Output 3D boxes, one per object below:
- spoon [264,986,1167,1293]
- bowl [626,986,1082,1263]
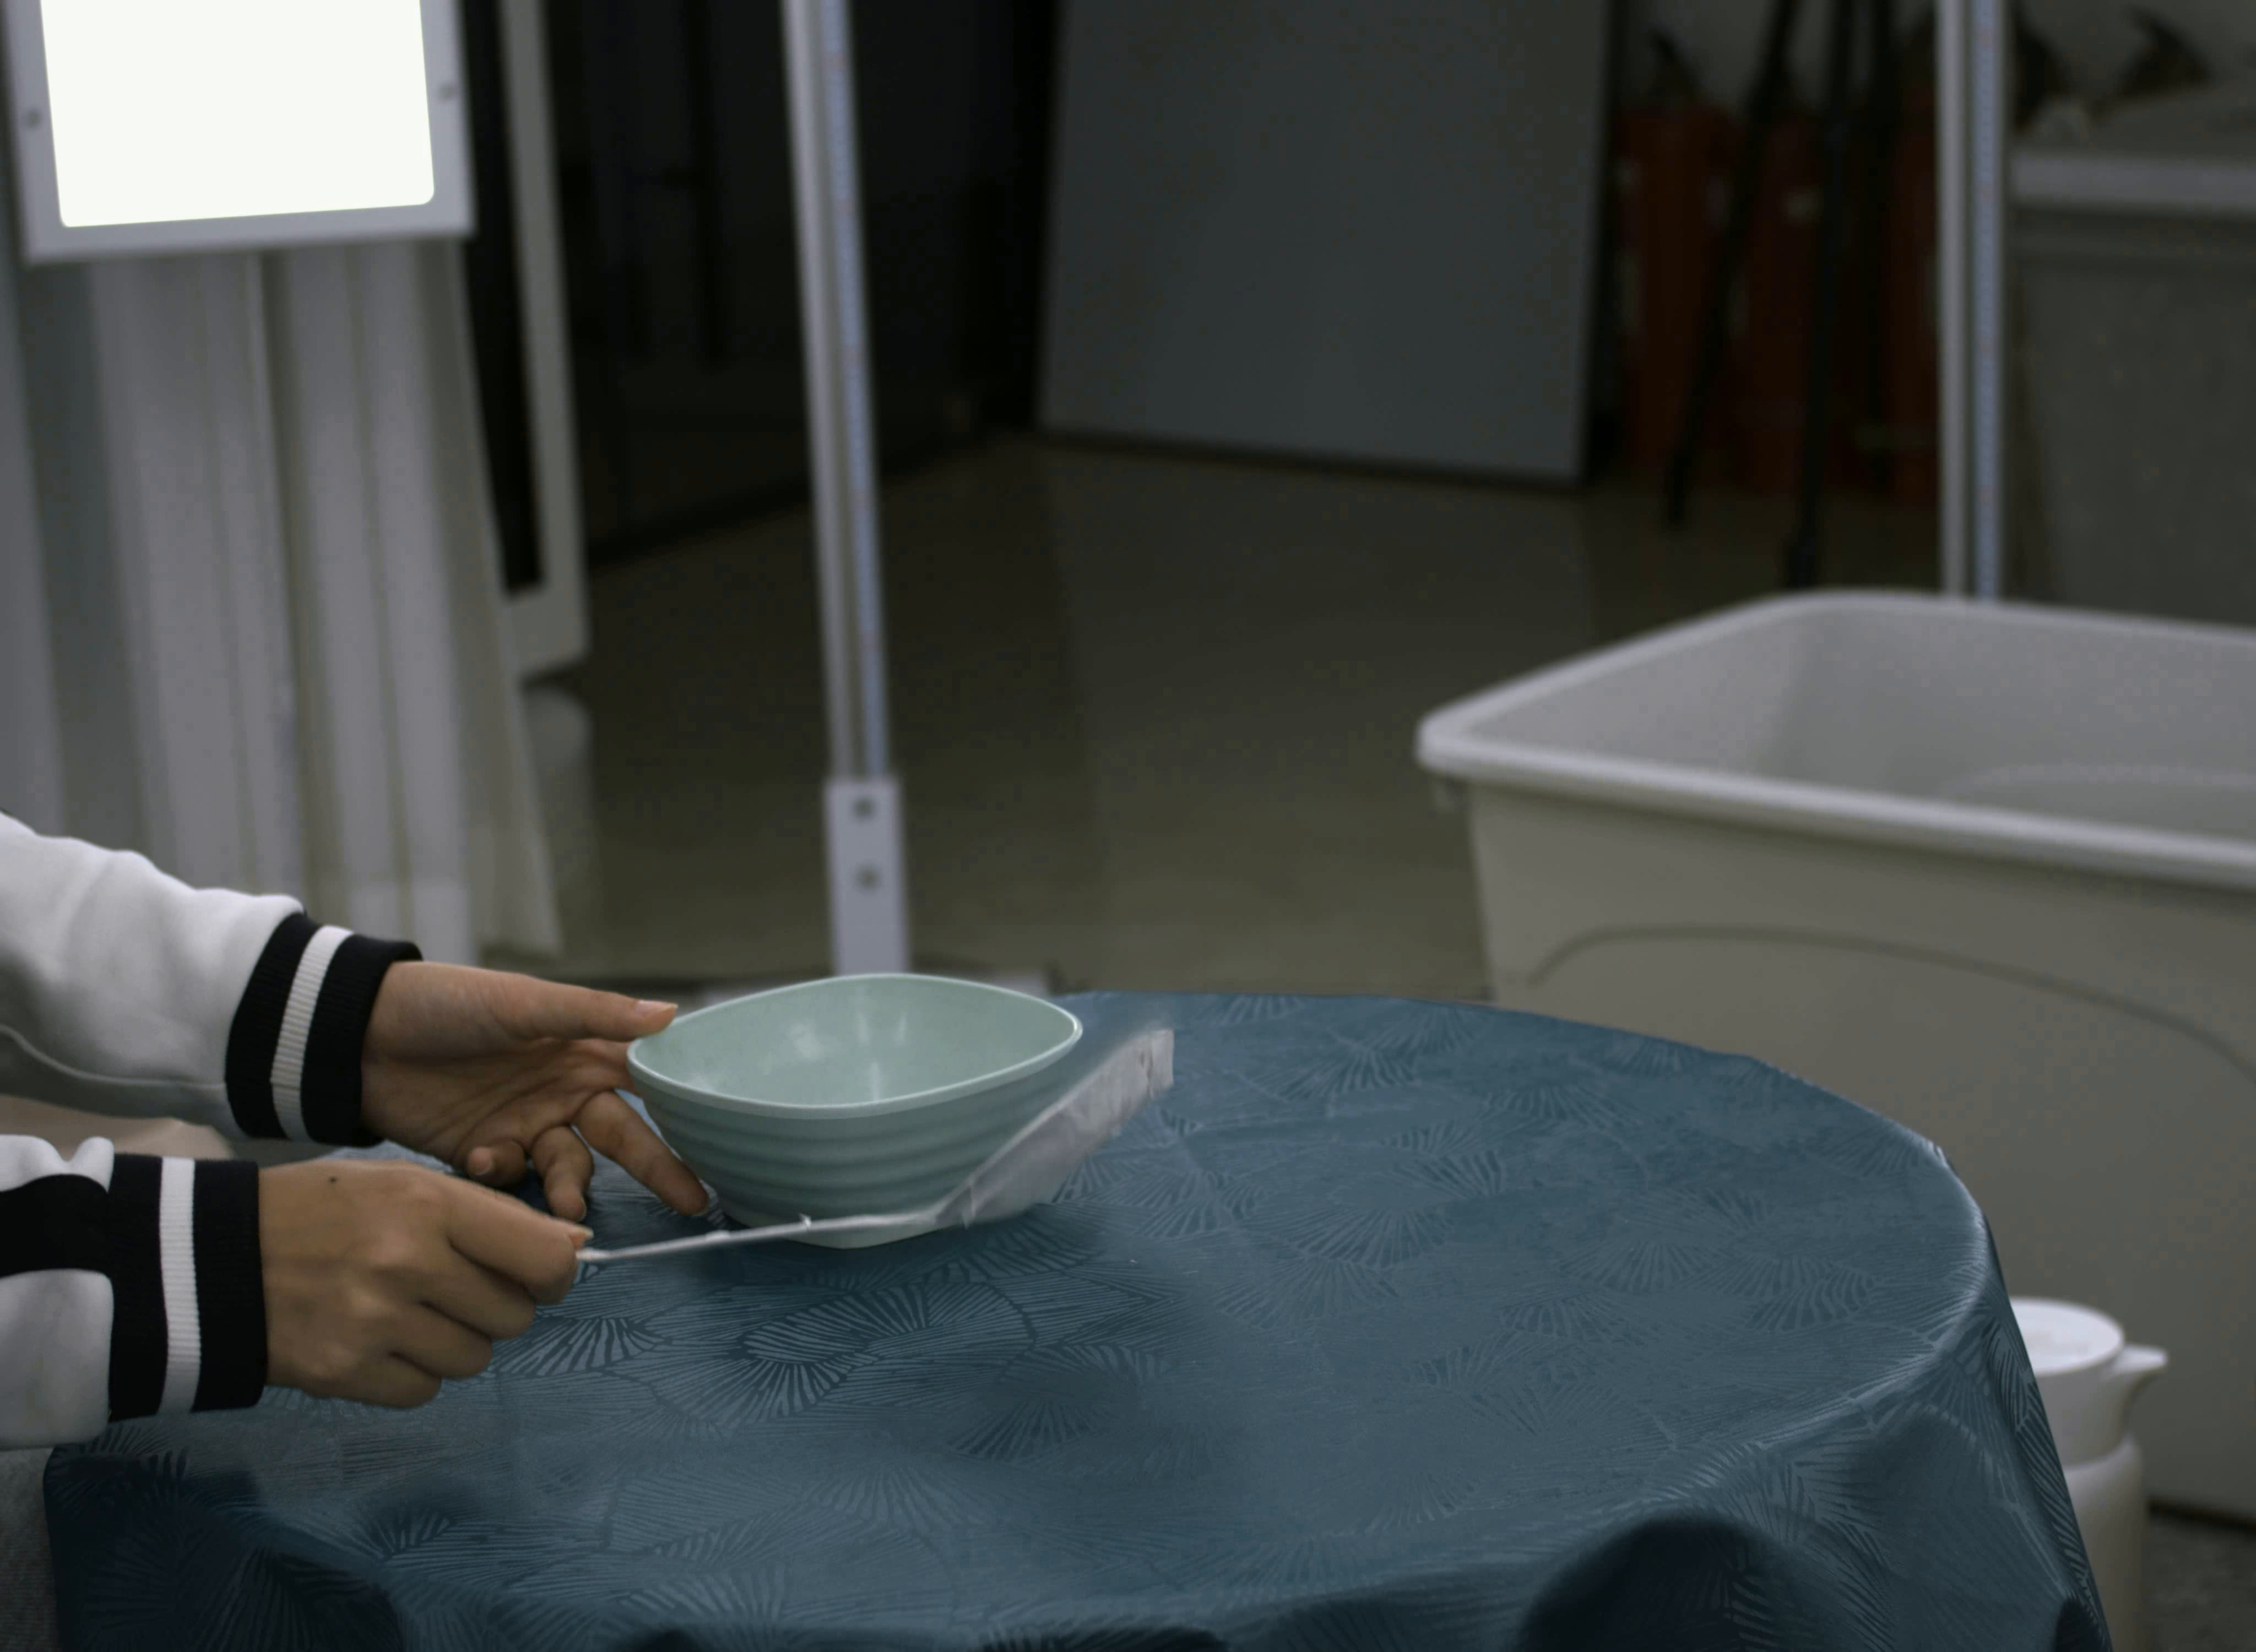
[{"bbox_3d":[-0.121,0.093,1.591,0.275,0.060,0.100,-7,-7,6],"label":"spoon"},{"bbox_3d":[-0.088,0.101,1.771,0.149,0.059,0.152,-4,13,0],"label":"bowl"}]
